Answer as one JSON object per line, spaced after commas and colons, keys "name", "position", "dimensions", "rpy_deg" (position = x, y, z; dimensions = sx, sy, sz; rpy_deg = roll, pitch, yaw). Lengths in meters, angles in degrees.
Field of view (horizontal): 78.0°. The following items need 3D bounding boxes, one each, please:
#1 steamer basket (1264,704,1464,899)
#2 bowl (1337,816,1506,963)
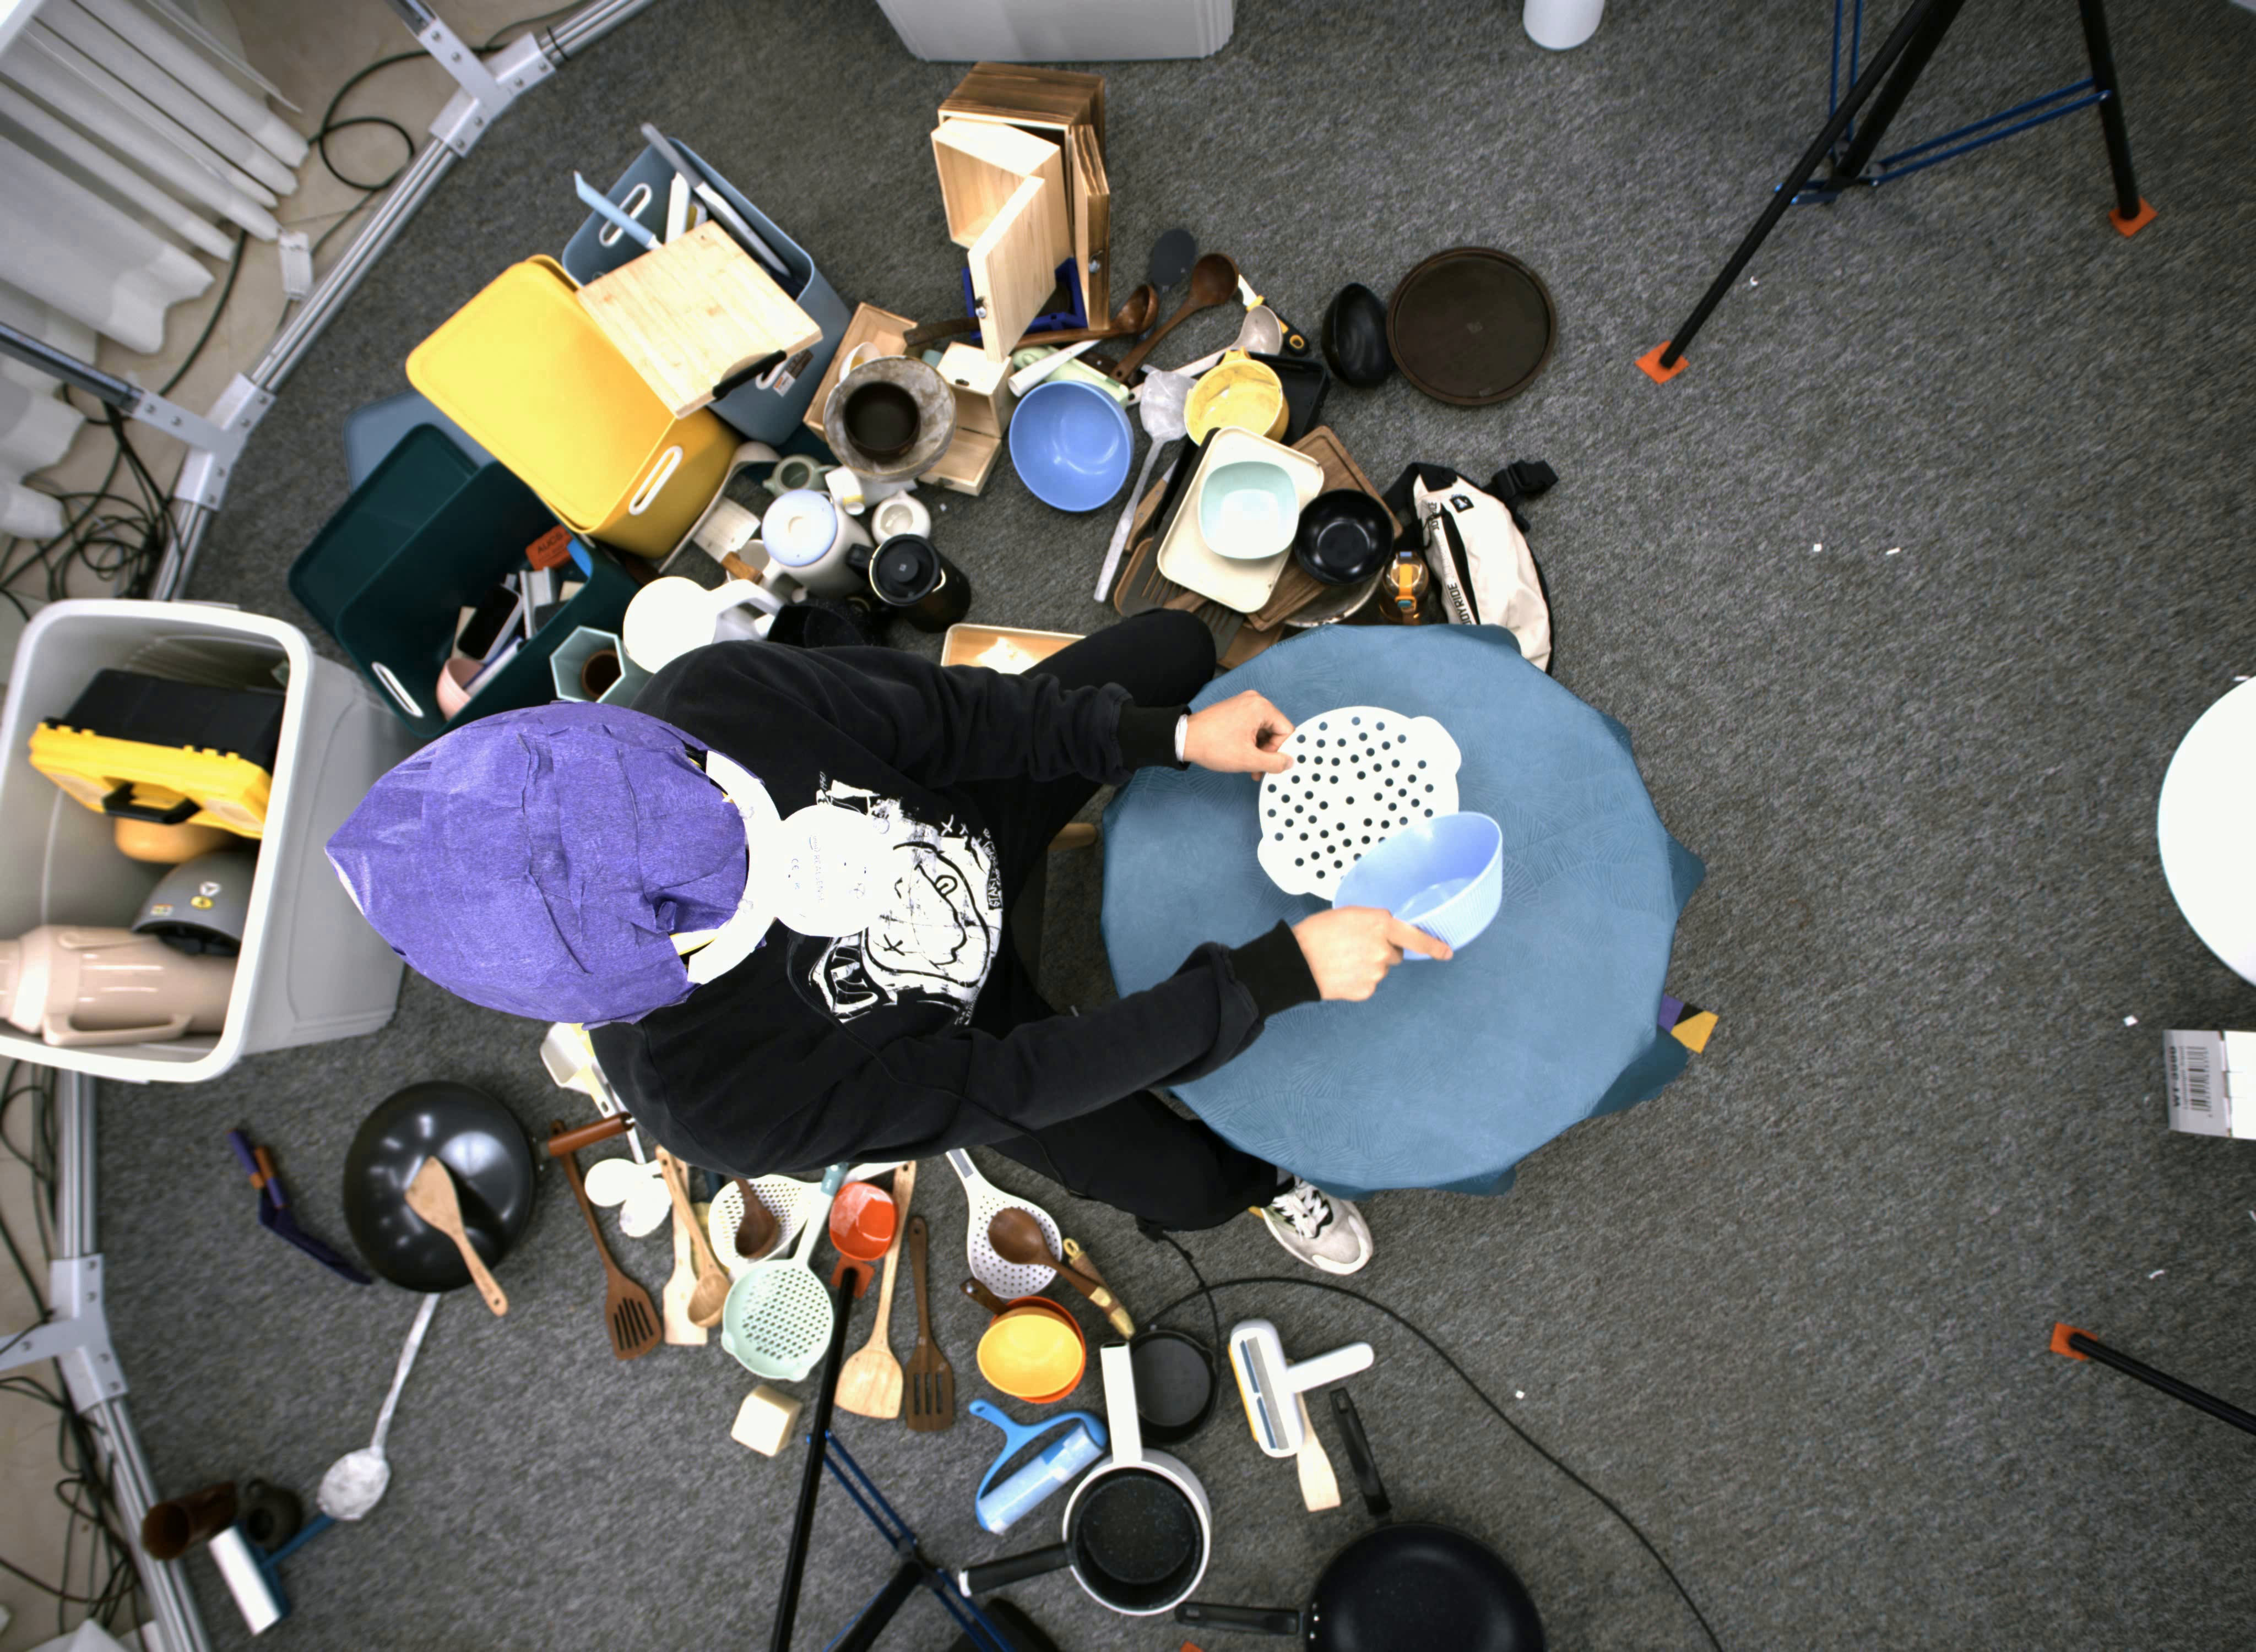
{"name": "steamer basket", "position": [0.239, -0.026, 1.422], "dimensions": [0.231, 0.069, 0.202], "rpy_deg": [-40, 96, 3]}
{"name": "bowl", "position": [0.293, 0.068, 1.320], "dimensions": [0.177, 0.173, 0.071], "rpy_deg": [-32, 110, 5]}
